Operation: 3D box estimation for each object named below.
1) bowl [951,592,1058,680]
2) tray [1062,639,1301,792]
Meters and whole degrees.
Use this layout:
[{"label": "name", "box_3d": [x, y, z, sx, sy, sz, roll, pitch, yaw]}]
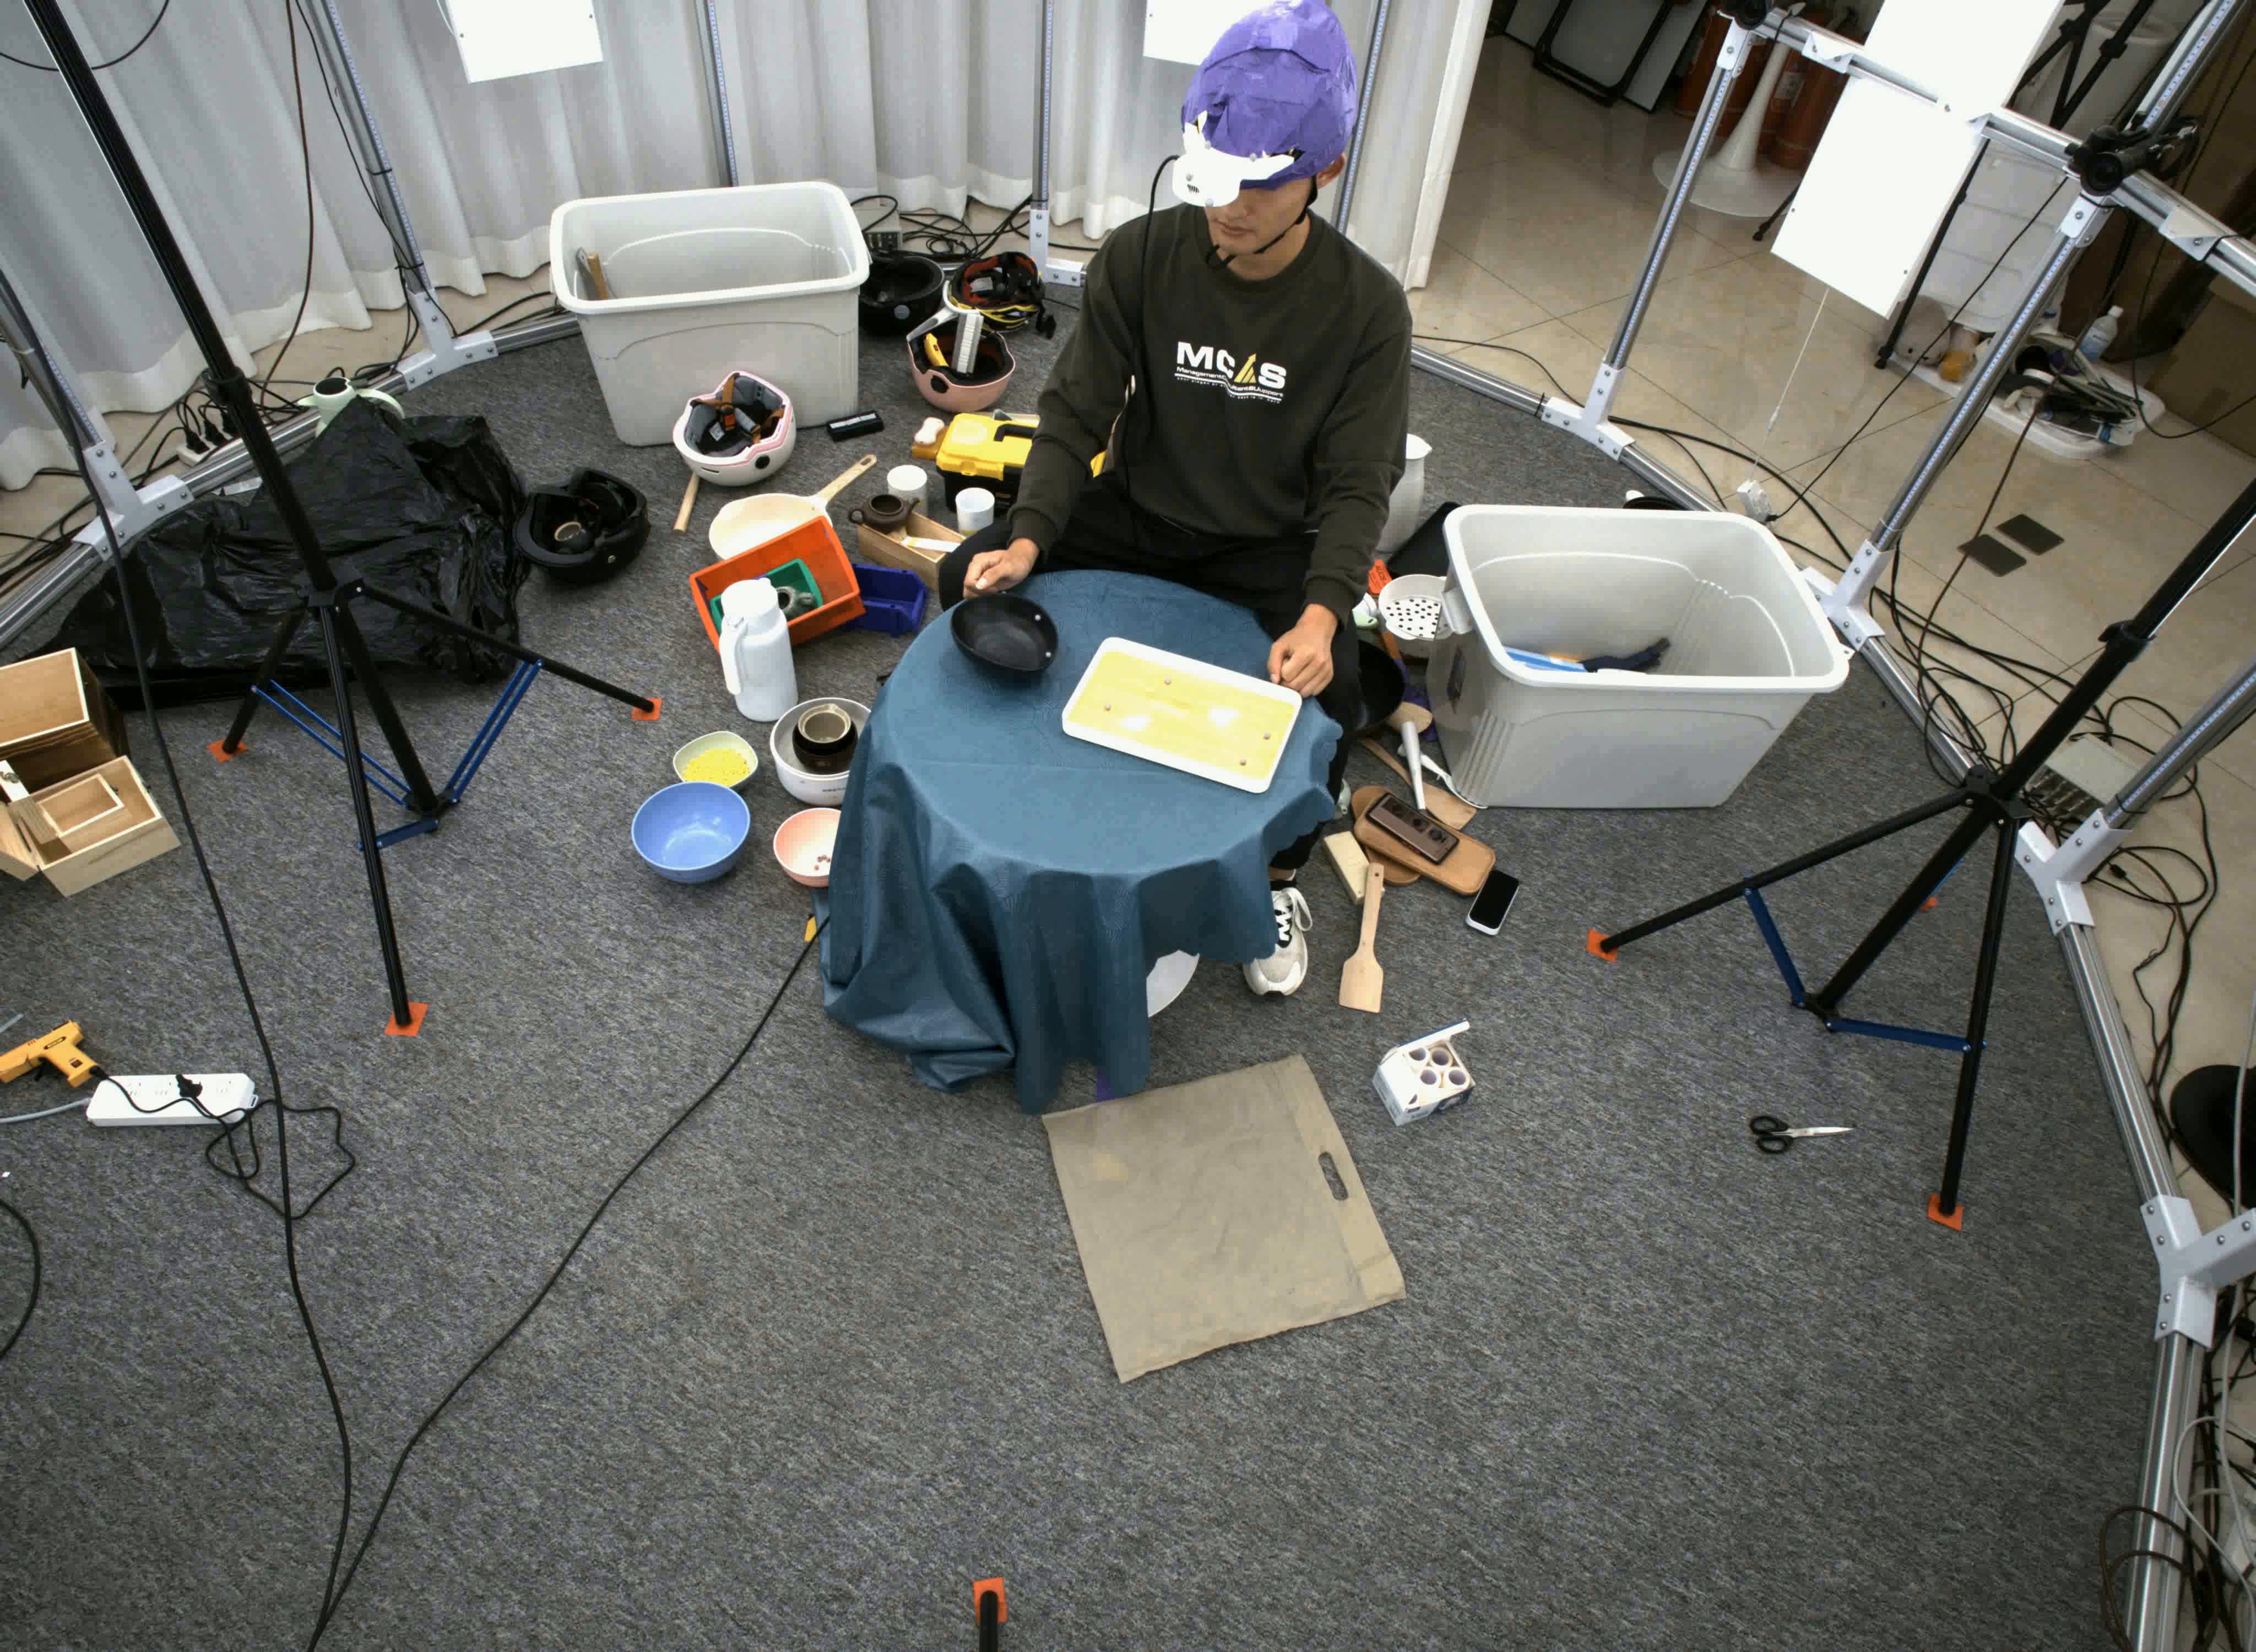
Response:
[{"label": "bowl", "box_3d": [-0.175, -0.261, 1.838, 0.172, 0.065, 0.139, 37, 57, 23]}, {"label": "tray", "box_3d": [0.076, -0.159, 1.790, 0.301, 0.027, 0.195, 18, 50, 11]}]
